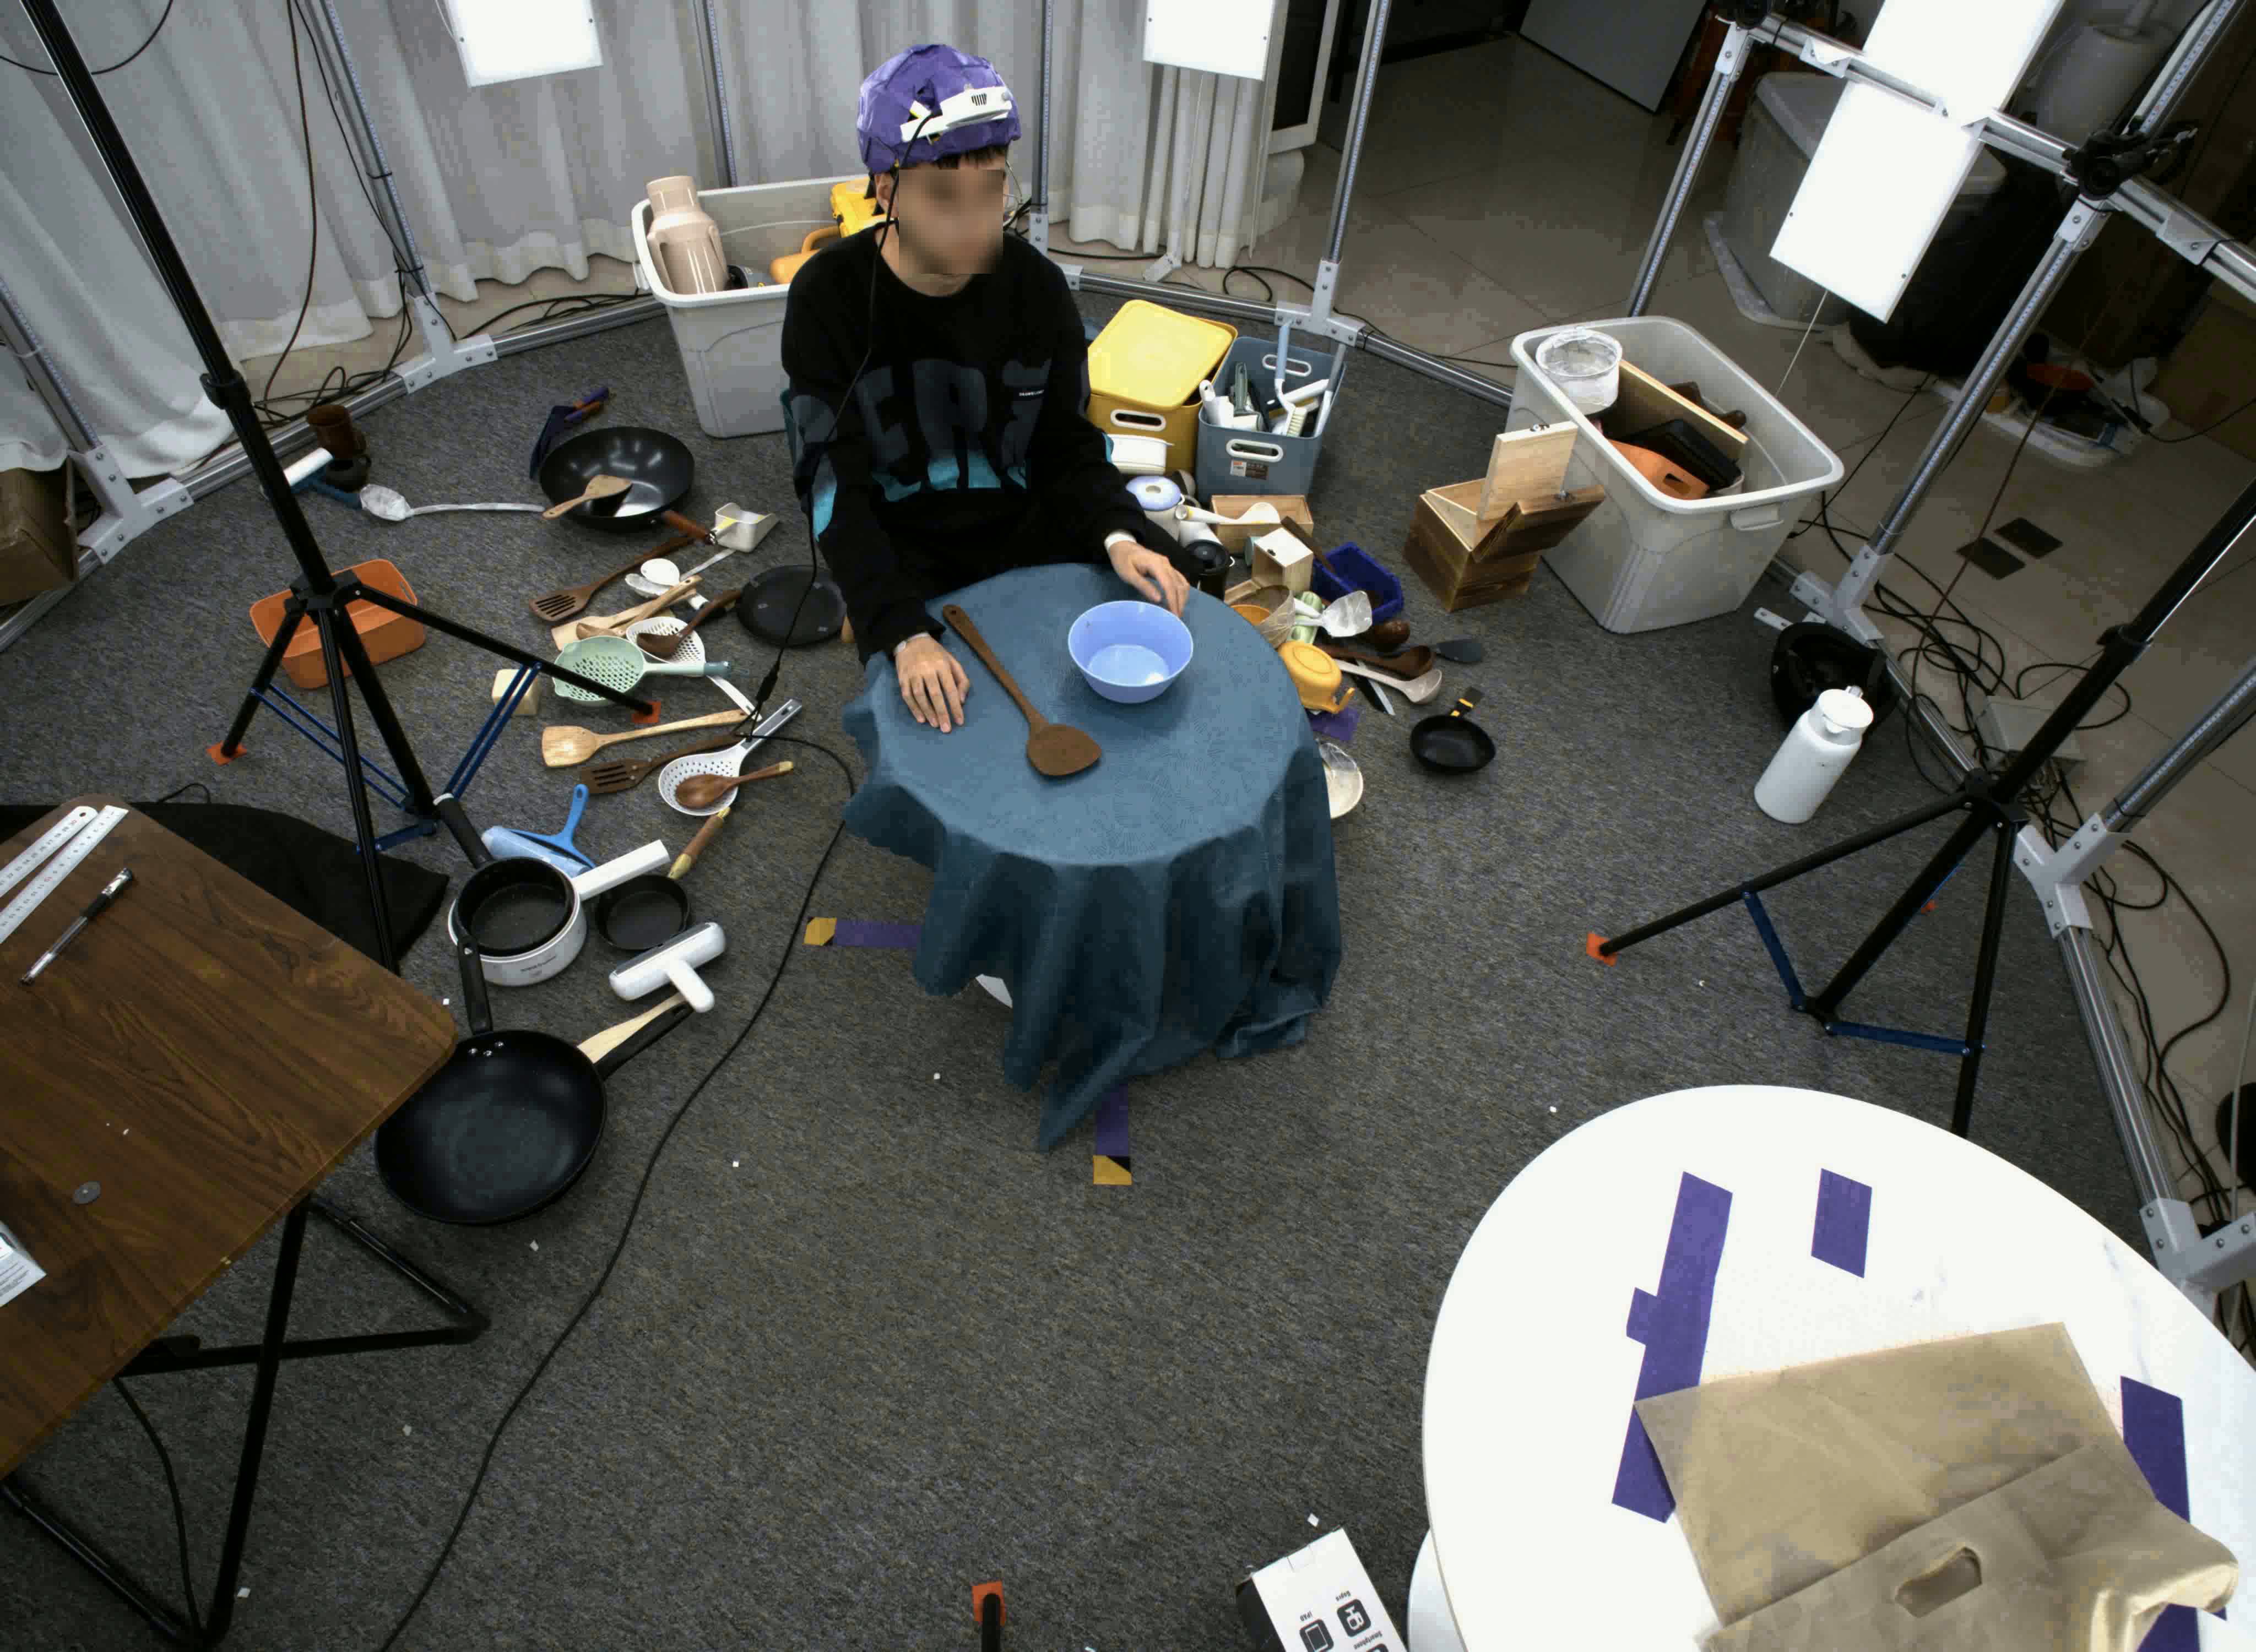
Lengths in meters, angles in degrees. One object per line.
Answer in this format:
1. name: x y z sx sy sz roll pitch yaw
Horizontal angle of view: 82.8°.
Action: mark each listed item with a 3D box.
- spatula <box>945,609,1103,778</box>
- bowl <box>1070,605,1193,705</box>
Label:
1. spatula: -0.167 -0.201 1.839 0.096 0.015 0.394 -23 54 -22
2. bowl: 0.004 -0.237 1.846 0.176 0.068 0.180 1 48 -2
